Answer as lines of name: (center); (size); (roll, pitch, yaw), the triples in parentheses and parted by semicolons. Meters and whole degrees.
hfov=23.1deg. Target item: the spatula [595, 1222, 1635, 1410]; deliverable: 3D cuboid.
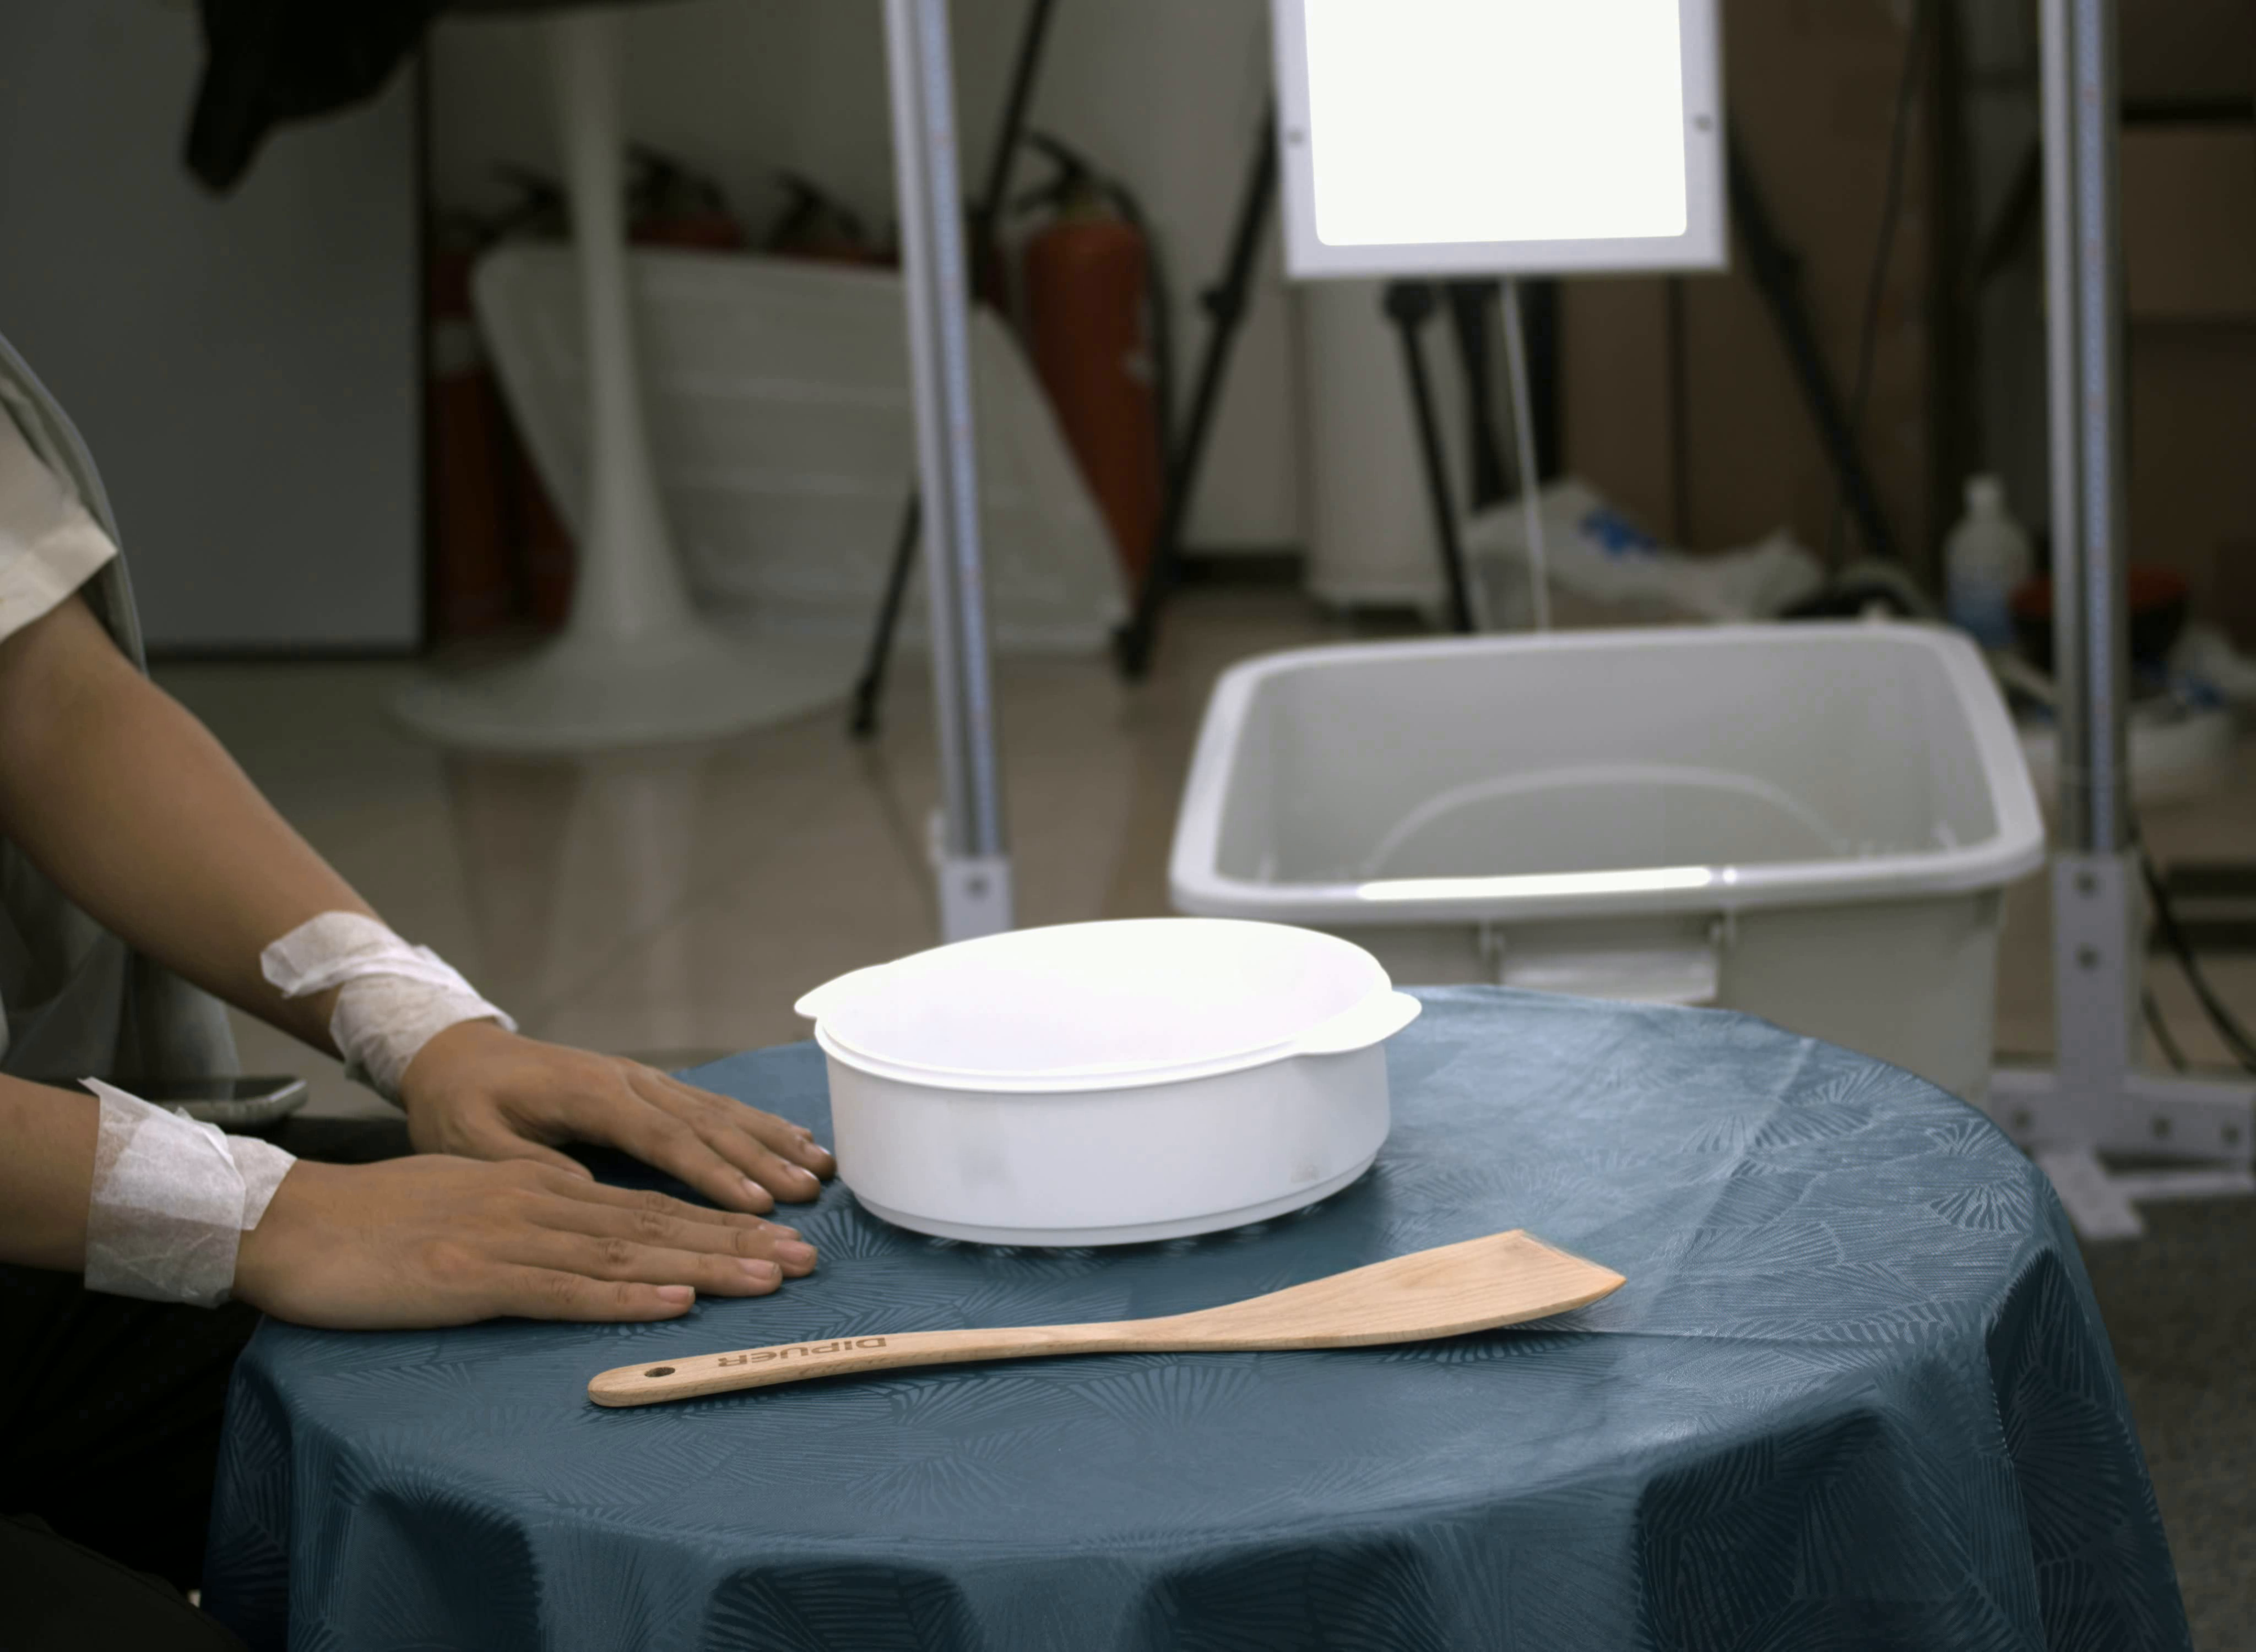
spatula: (-0.006, 0.157, 1.738); (0.326, 0.016, 0.080); (-6, 13, -2)

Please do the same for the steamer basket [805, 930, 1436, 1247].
steamer basket: (-0.002, 0.091, 1.907); (0.235, 0.069, 0.197); (2, 14, 30)
